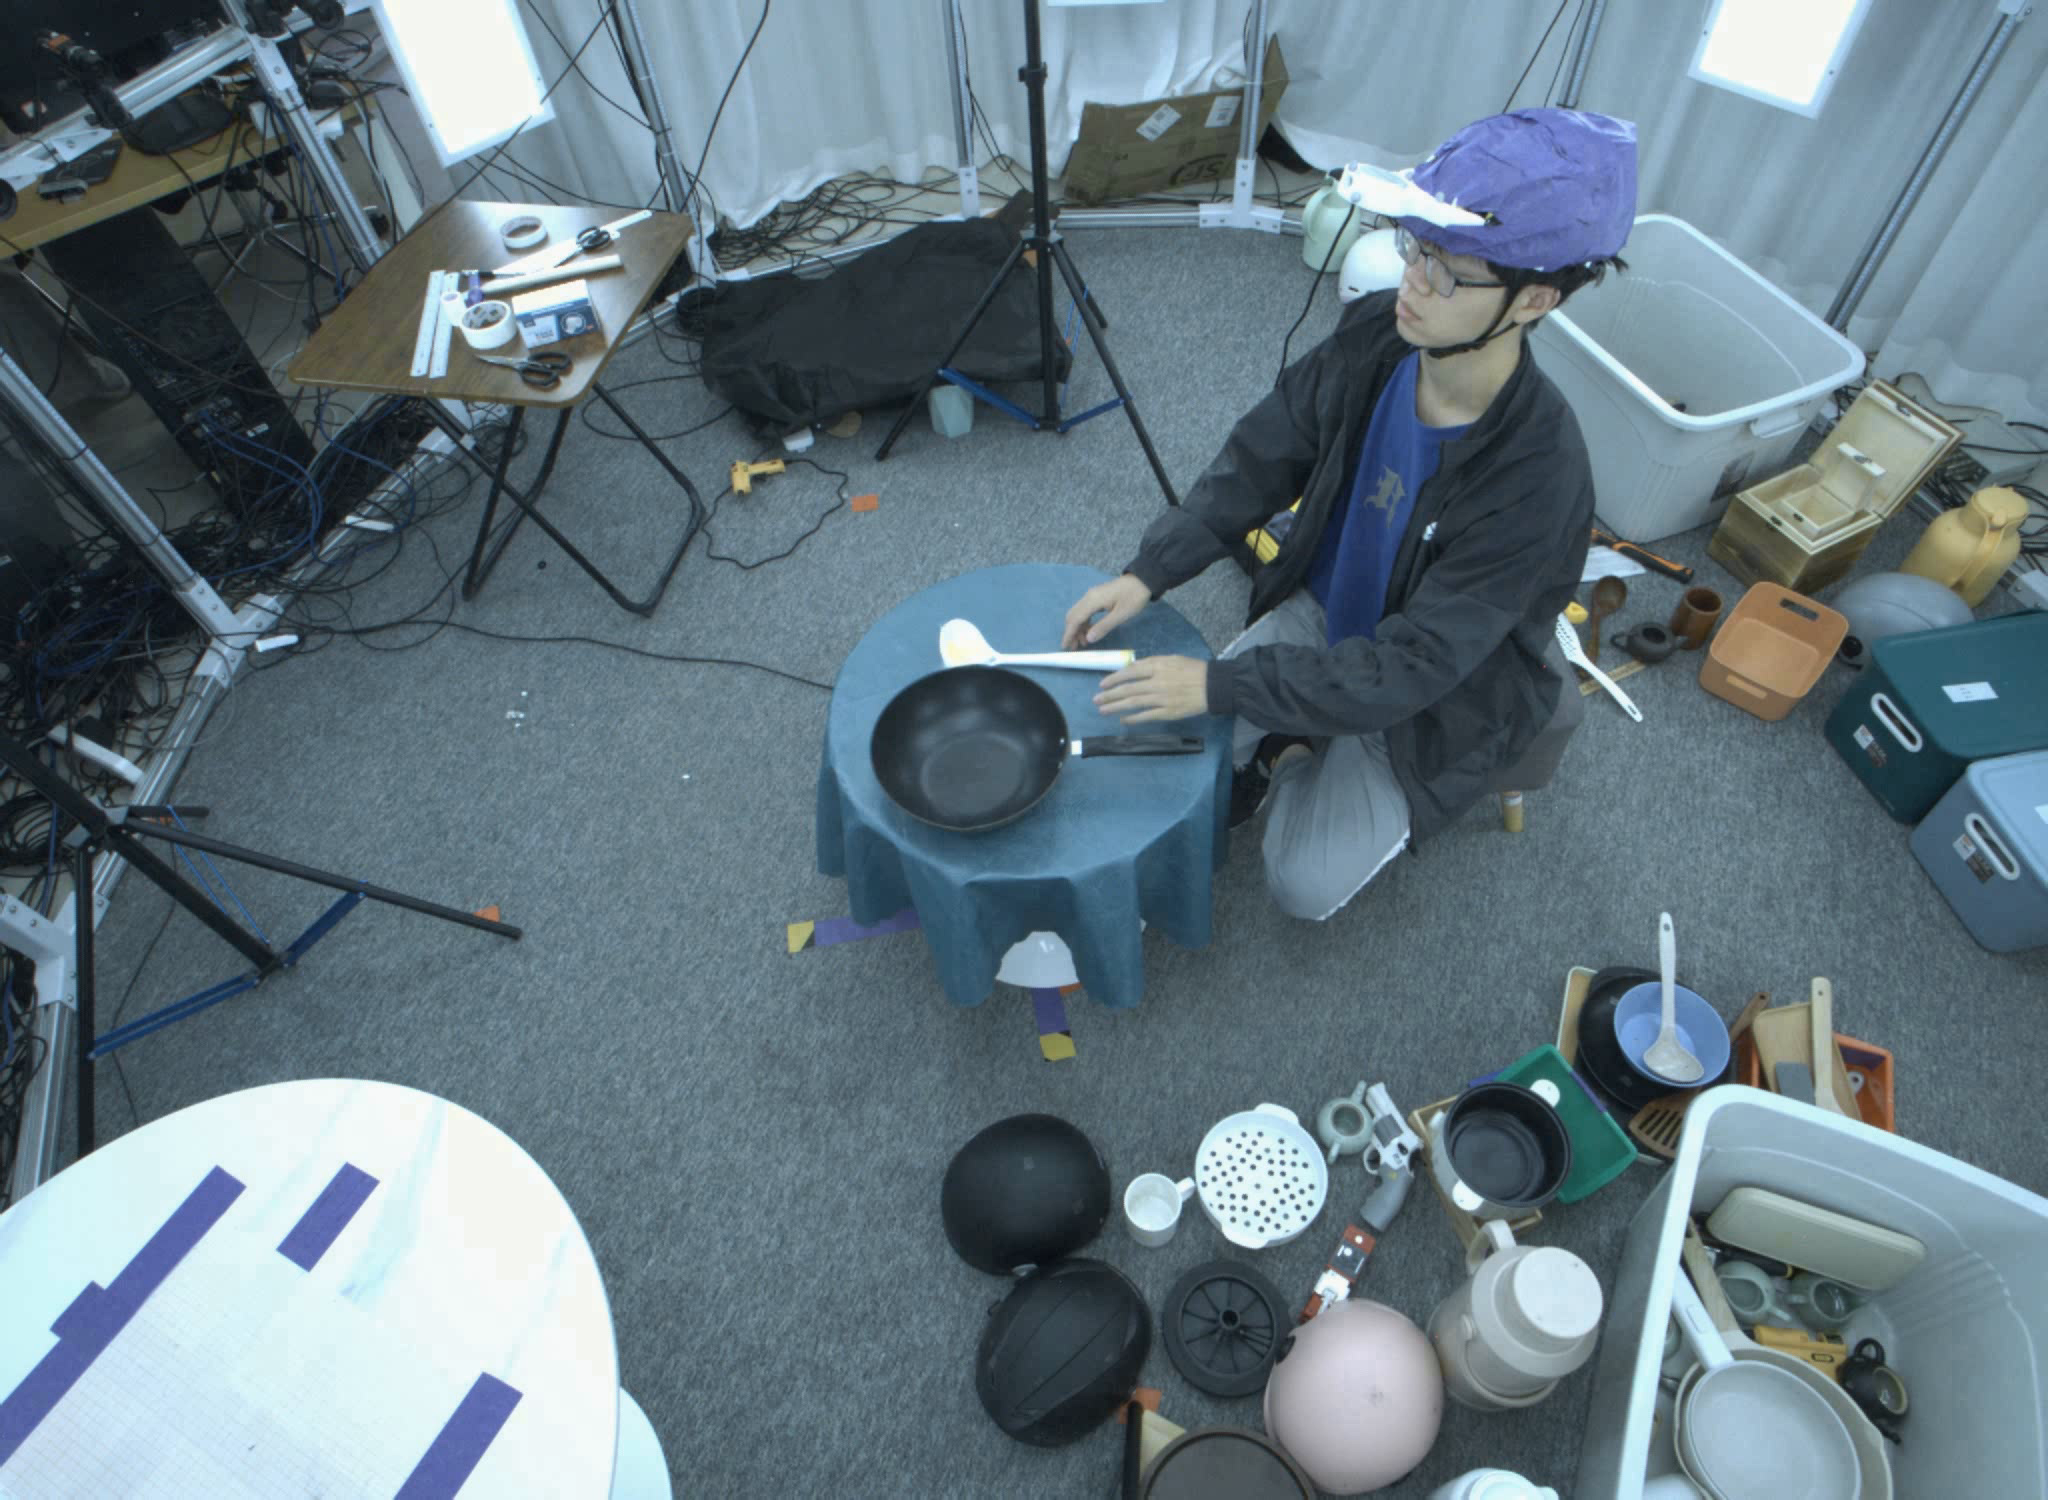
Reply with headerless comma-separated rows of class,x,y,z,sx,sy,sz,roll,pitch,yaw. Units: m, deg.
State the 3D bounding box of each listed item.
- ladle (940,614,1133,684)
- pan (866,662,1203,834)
ladle,0.019,-0.145,1.844,0.292,0.070,0.089,8,54,4
pan,0.015,0.012,1.719,0.463,0.088,0.285,1,55,2
